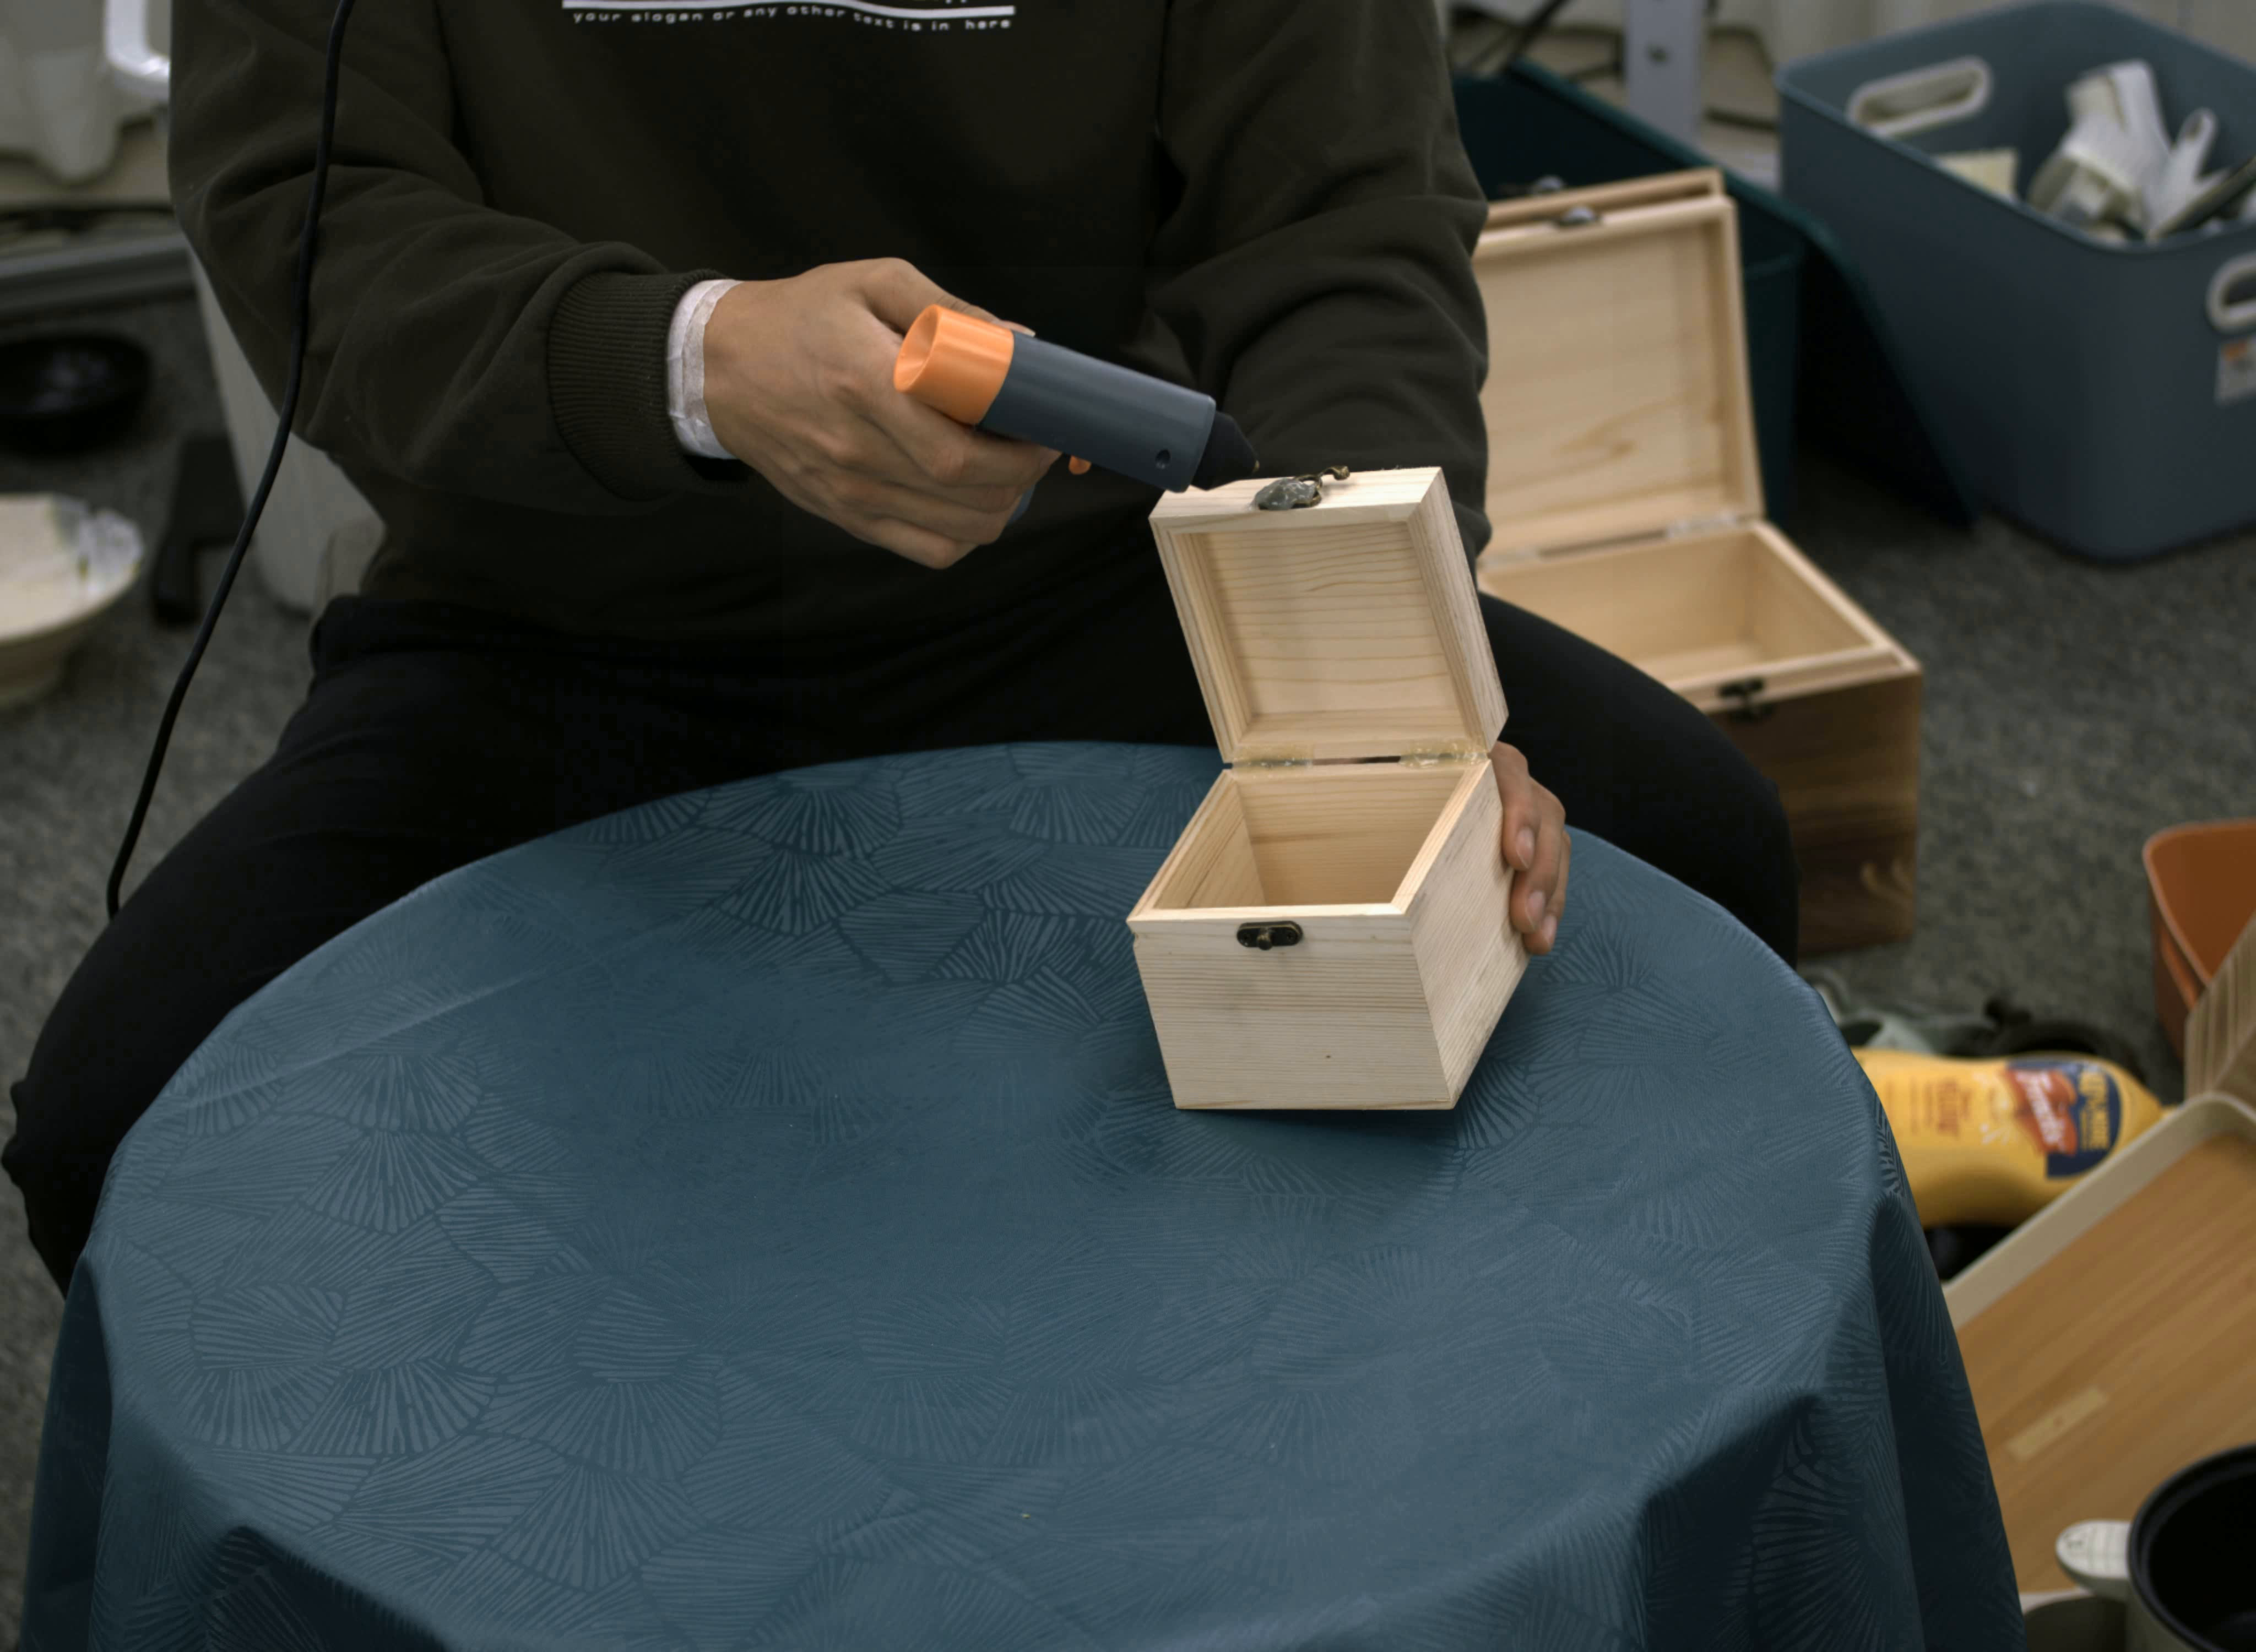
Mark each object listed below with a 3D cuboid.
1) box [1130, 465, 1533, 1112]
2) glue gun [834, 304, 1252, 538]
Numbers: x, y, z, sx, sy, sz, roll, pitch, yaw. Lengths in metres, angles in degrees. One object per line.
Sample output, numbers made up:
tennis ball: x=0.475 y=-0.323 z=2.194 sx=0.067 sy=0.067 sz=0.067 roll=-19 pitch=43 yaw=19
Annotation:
box: x=0.062 y=-0.012 z=1.902 sx=0.101 sy=0.183 sz=0.136 roll=-3 pitch=28 yaw=23
glue gun: x=-0.034 y=-0.133 z=1.919 sx=0.117 sy=0.041 sz=0.138 roll=25 pitch=-17 yaw=-22
